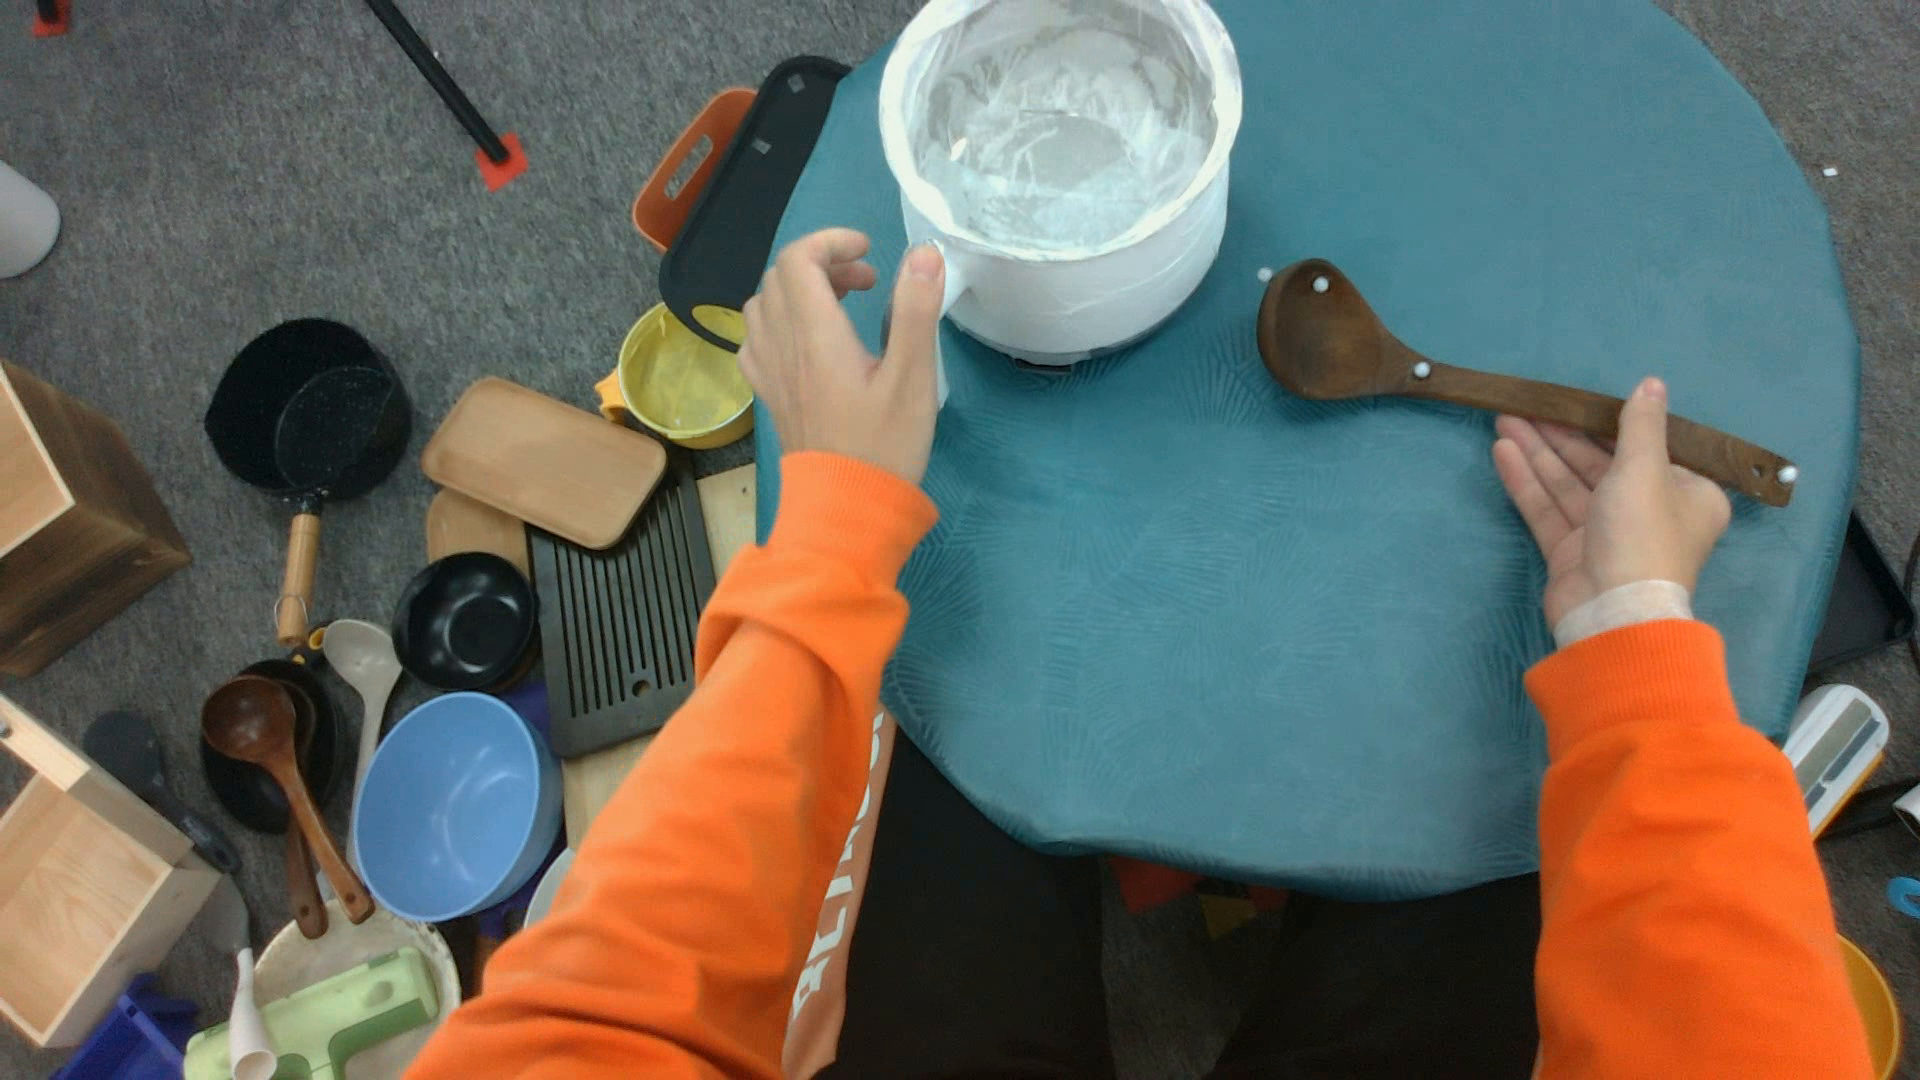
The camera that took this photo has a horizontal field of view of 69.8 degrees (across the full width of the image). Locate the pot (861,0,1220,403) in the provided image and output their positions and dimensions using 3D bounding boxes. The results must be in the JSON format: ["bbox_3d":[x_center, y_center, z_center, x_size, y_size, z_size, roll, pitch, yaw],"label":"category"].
[{"bbox_3d":[0.028,-0.181,0.728,0.179,0.136,0.234,34,78,16],"label":"pot"}]

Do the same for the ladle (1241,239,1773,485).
[{"bbox_3d":[0.279,-0.088,0.703,0.274,0.071,0.076,18,78,16],"label":"ladle"}]
